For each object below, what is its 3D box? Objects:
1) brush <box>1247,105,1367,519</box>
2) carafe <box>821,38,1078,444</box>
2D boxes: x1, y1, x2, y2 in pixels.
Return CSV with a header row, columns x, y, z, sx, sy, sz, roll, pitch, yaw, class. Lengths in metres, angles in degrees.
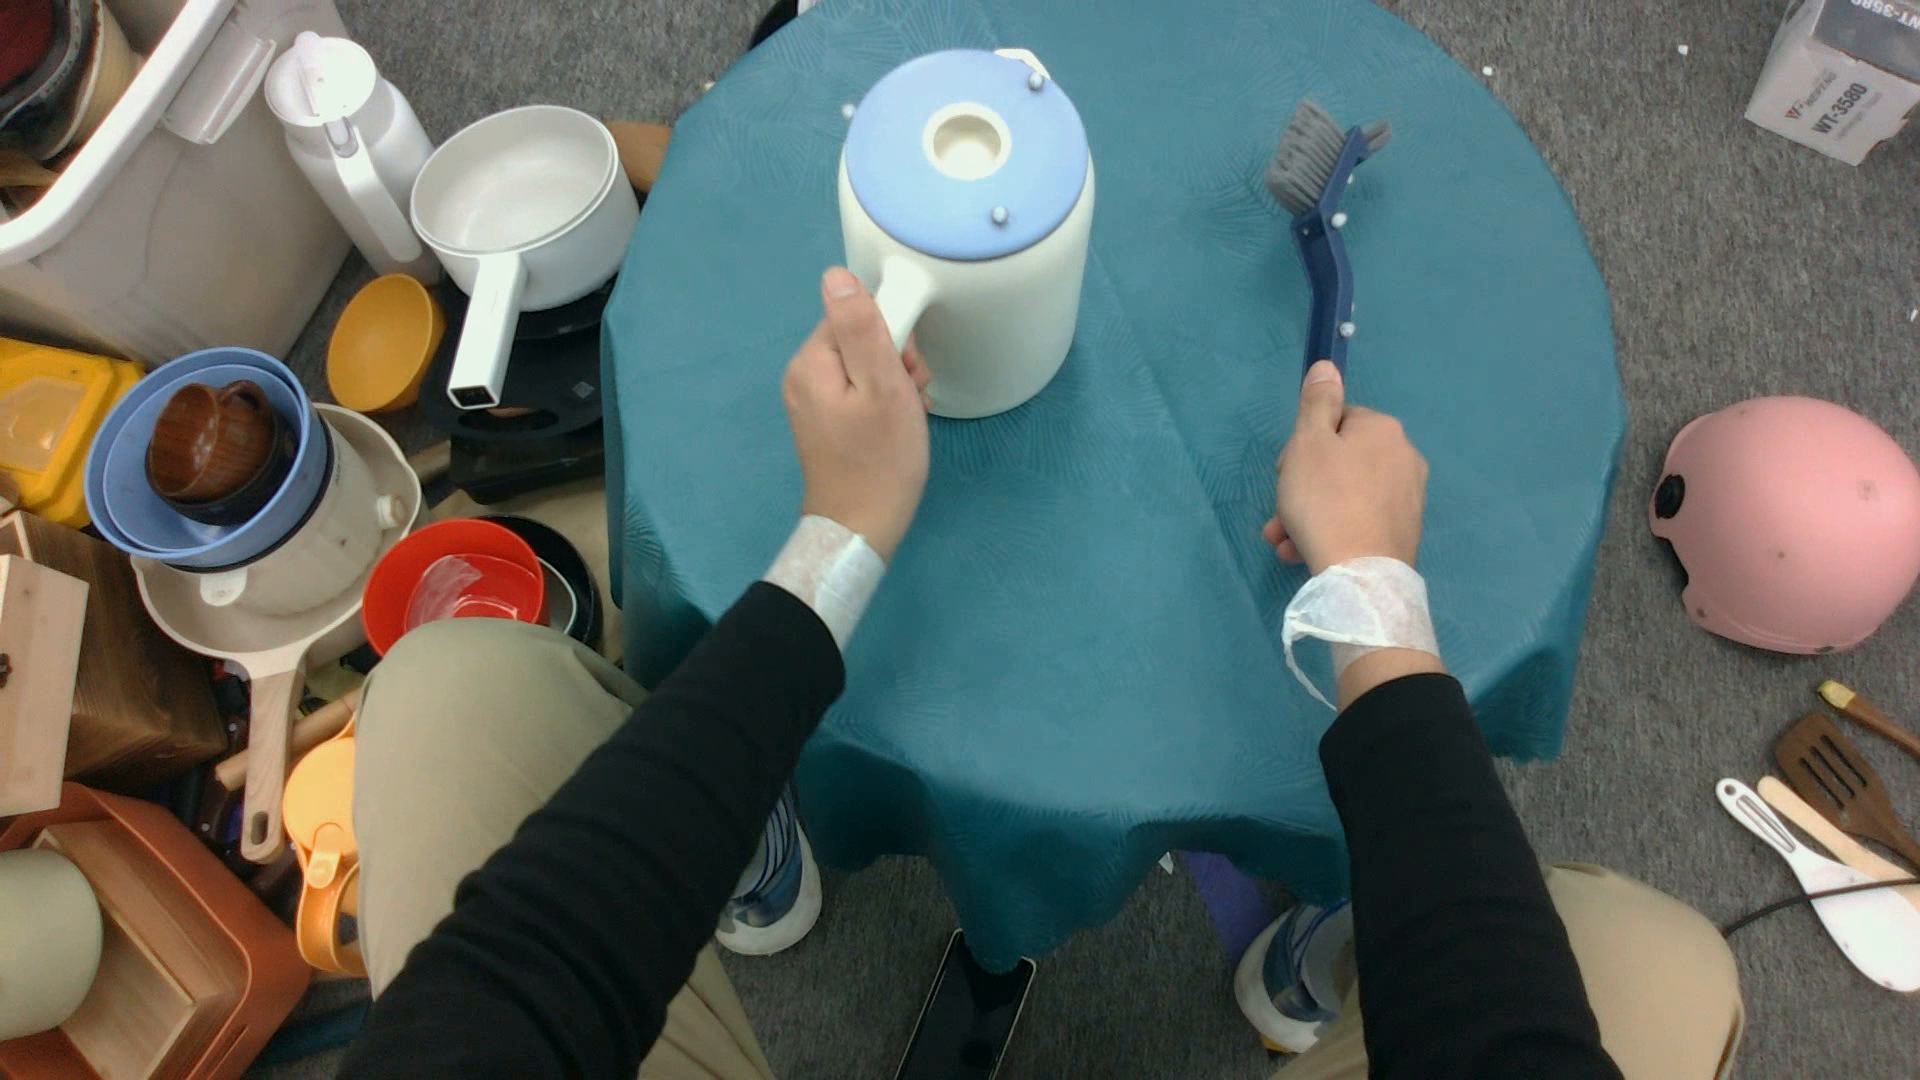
x,y,z,sx,sy,sz,roll,pitch,yaw,class
0.202,-0.134,0.784,0.096,0.033,0.274,17,65,-30,brush
-0.016,-0.144,0.738,0.132,0.182,0.191,22,72,7,carafe
